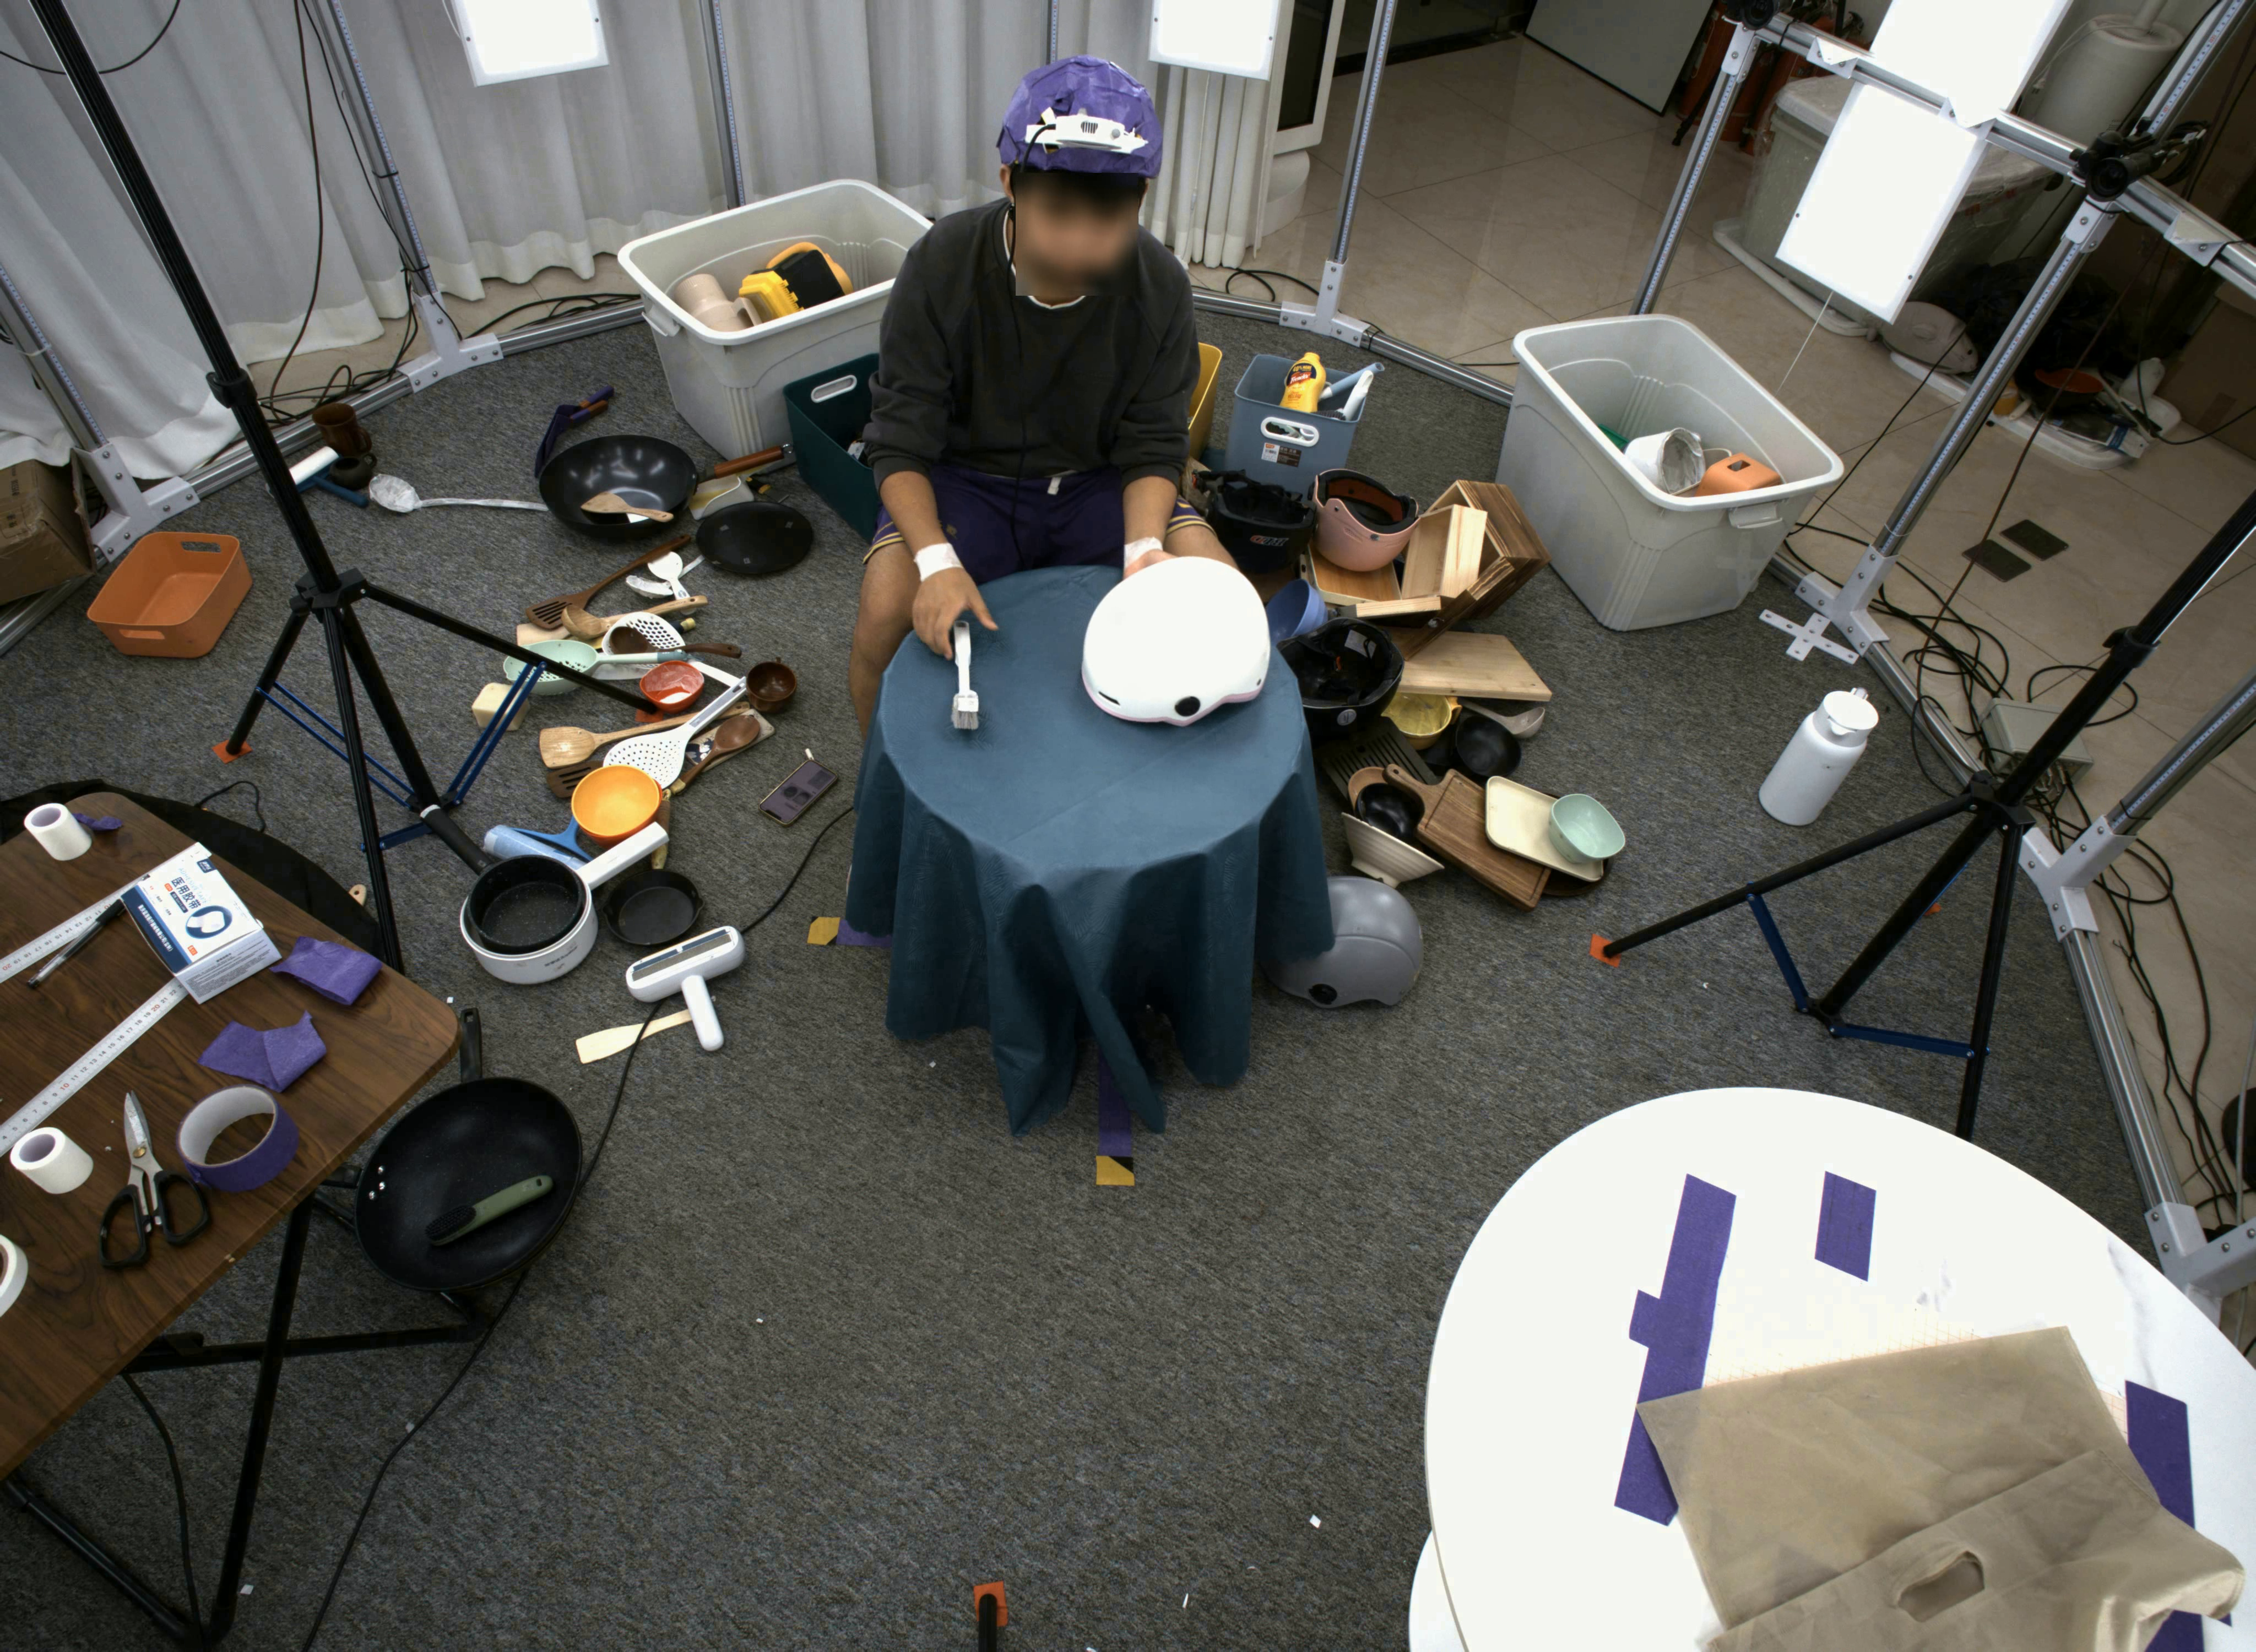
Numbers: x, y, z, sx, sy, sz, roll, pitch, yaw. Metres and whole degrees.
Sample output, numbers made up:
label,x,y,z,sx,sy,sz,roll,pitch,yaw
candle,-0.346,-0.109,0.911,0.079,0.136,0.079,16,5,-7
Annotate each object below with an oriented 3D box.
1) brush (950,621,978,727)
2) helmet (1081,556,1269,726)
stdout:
label,x,y,z,sx,sy,sz,roll,pitch,yaw
brush,-0.235,-0.214,1.821,0.034,0.049,0.249,0,37,-11
helmet,0.068,-0.273,1.793,0.268,0.163,0.242,-14,55,-11
